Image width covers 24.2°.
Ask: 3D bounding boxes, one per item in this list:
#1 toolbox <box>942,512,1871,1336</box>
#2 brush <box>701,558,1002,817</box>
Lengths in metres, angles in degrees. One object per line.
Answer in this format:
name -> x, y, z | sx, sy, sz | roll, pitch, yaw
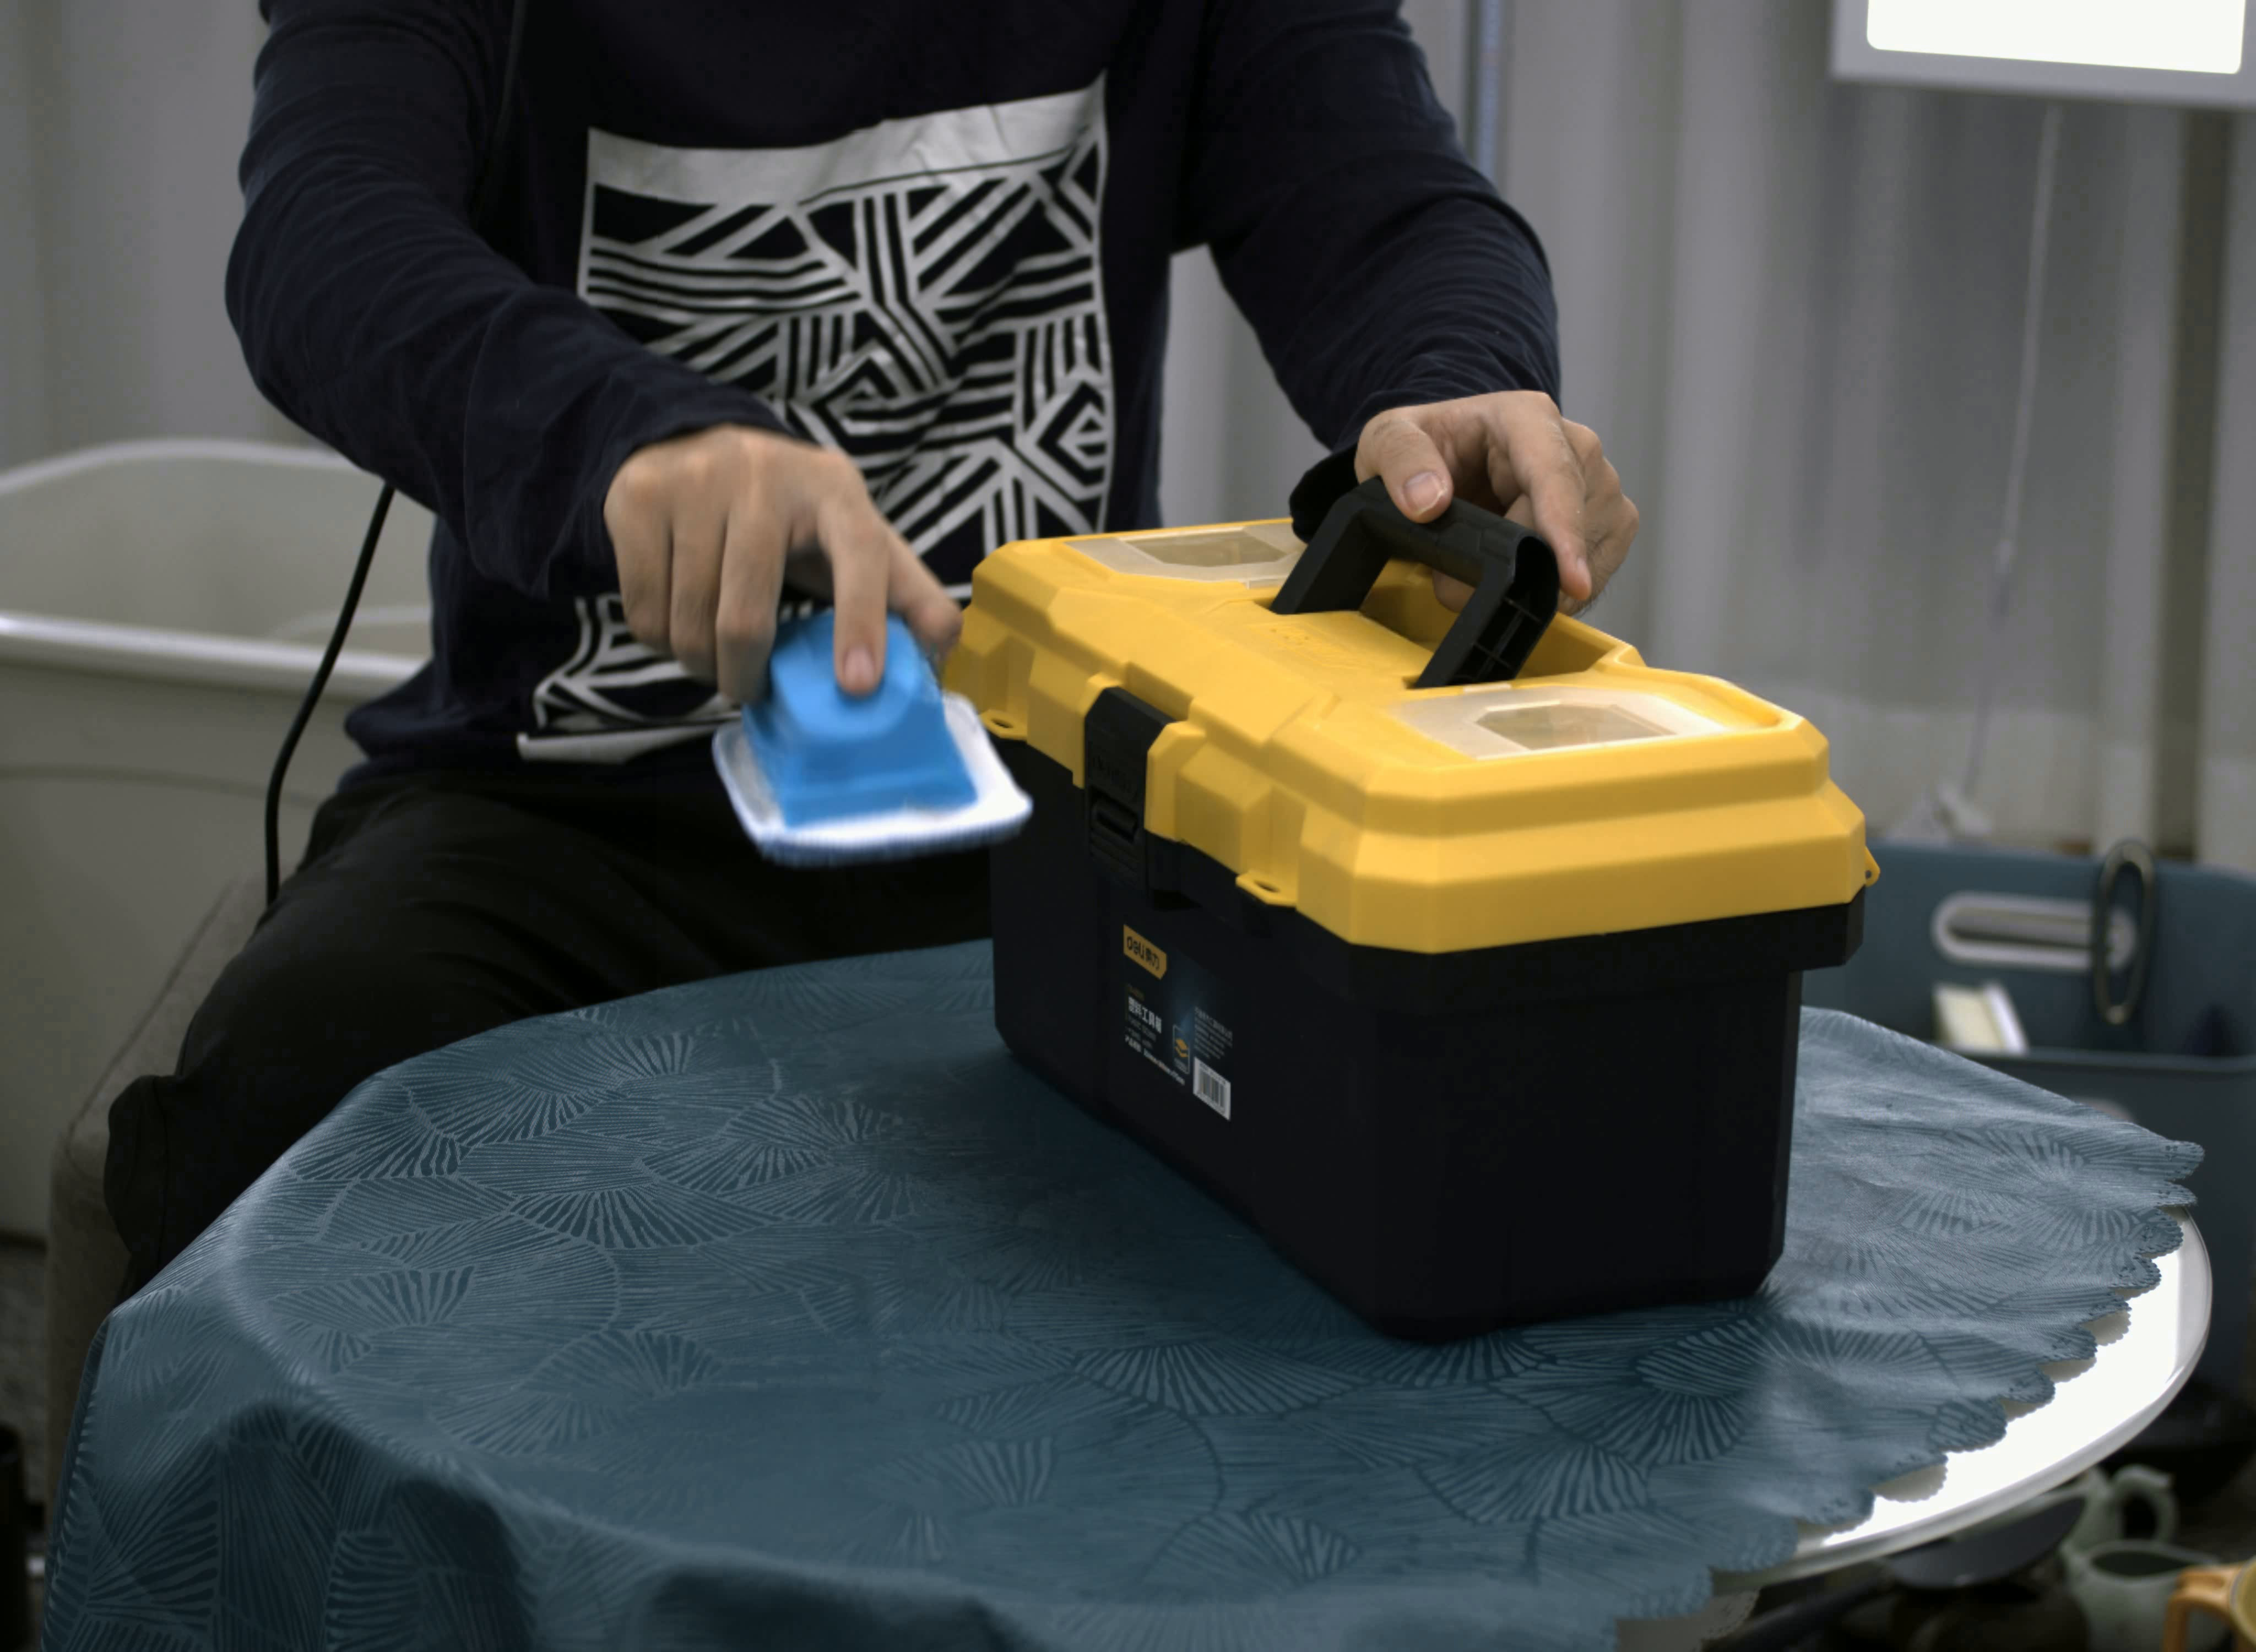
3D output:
toolbox -> 0.073, 0.021, 1.629 | 0.182, 0.174, 0.347 | -6, 17, -23
brush -> -0.080, -0.042, 1.532 | 0.084, 0.056, 0.143 | -4, 18, -7
